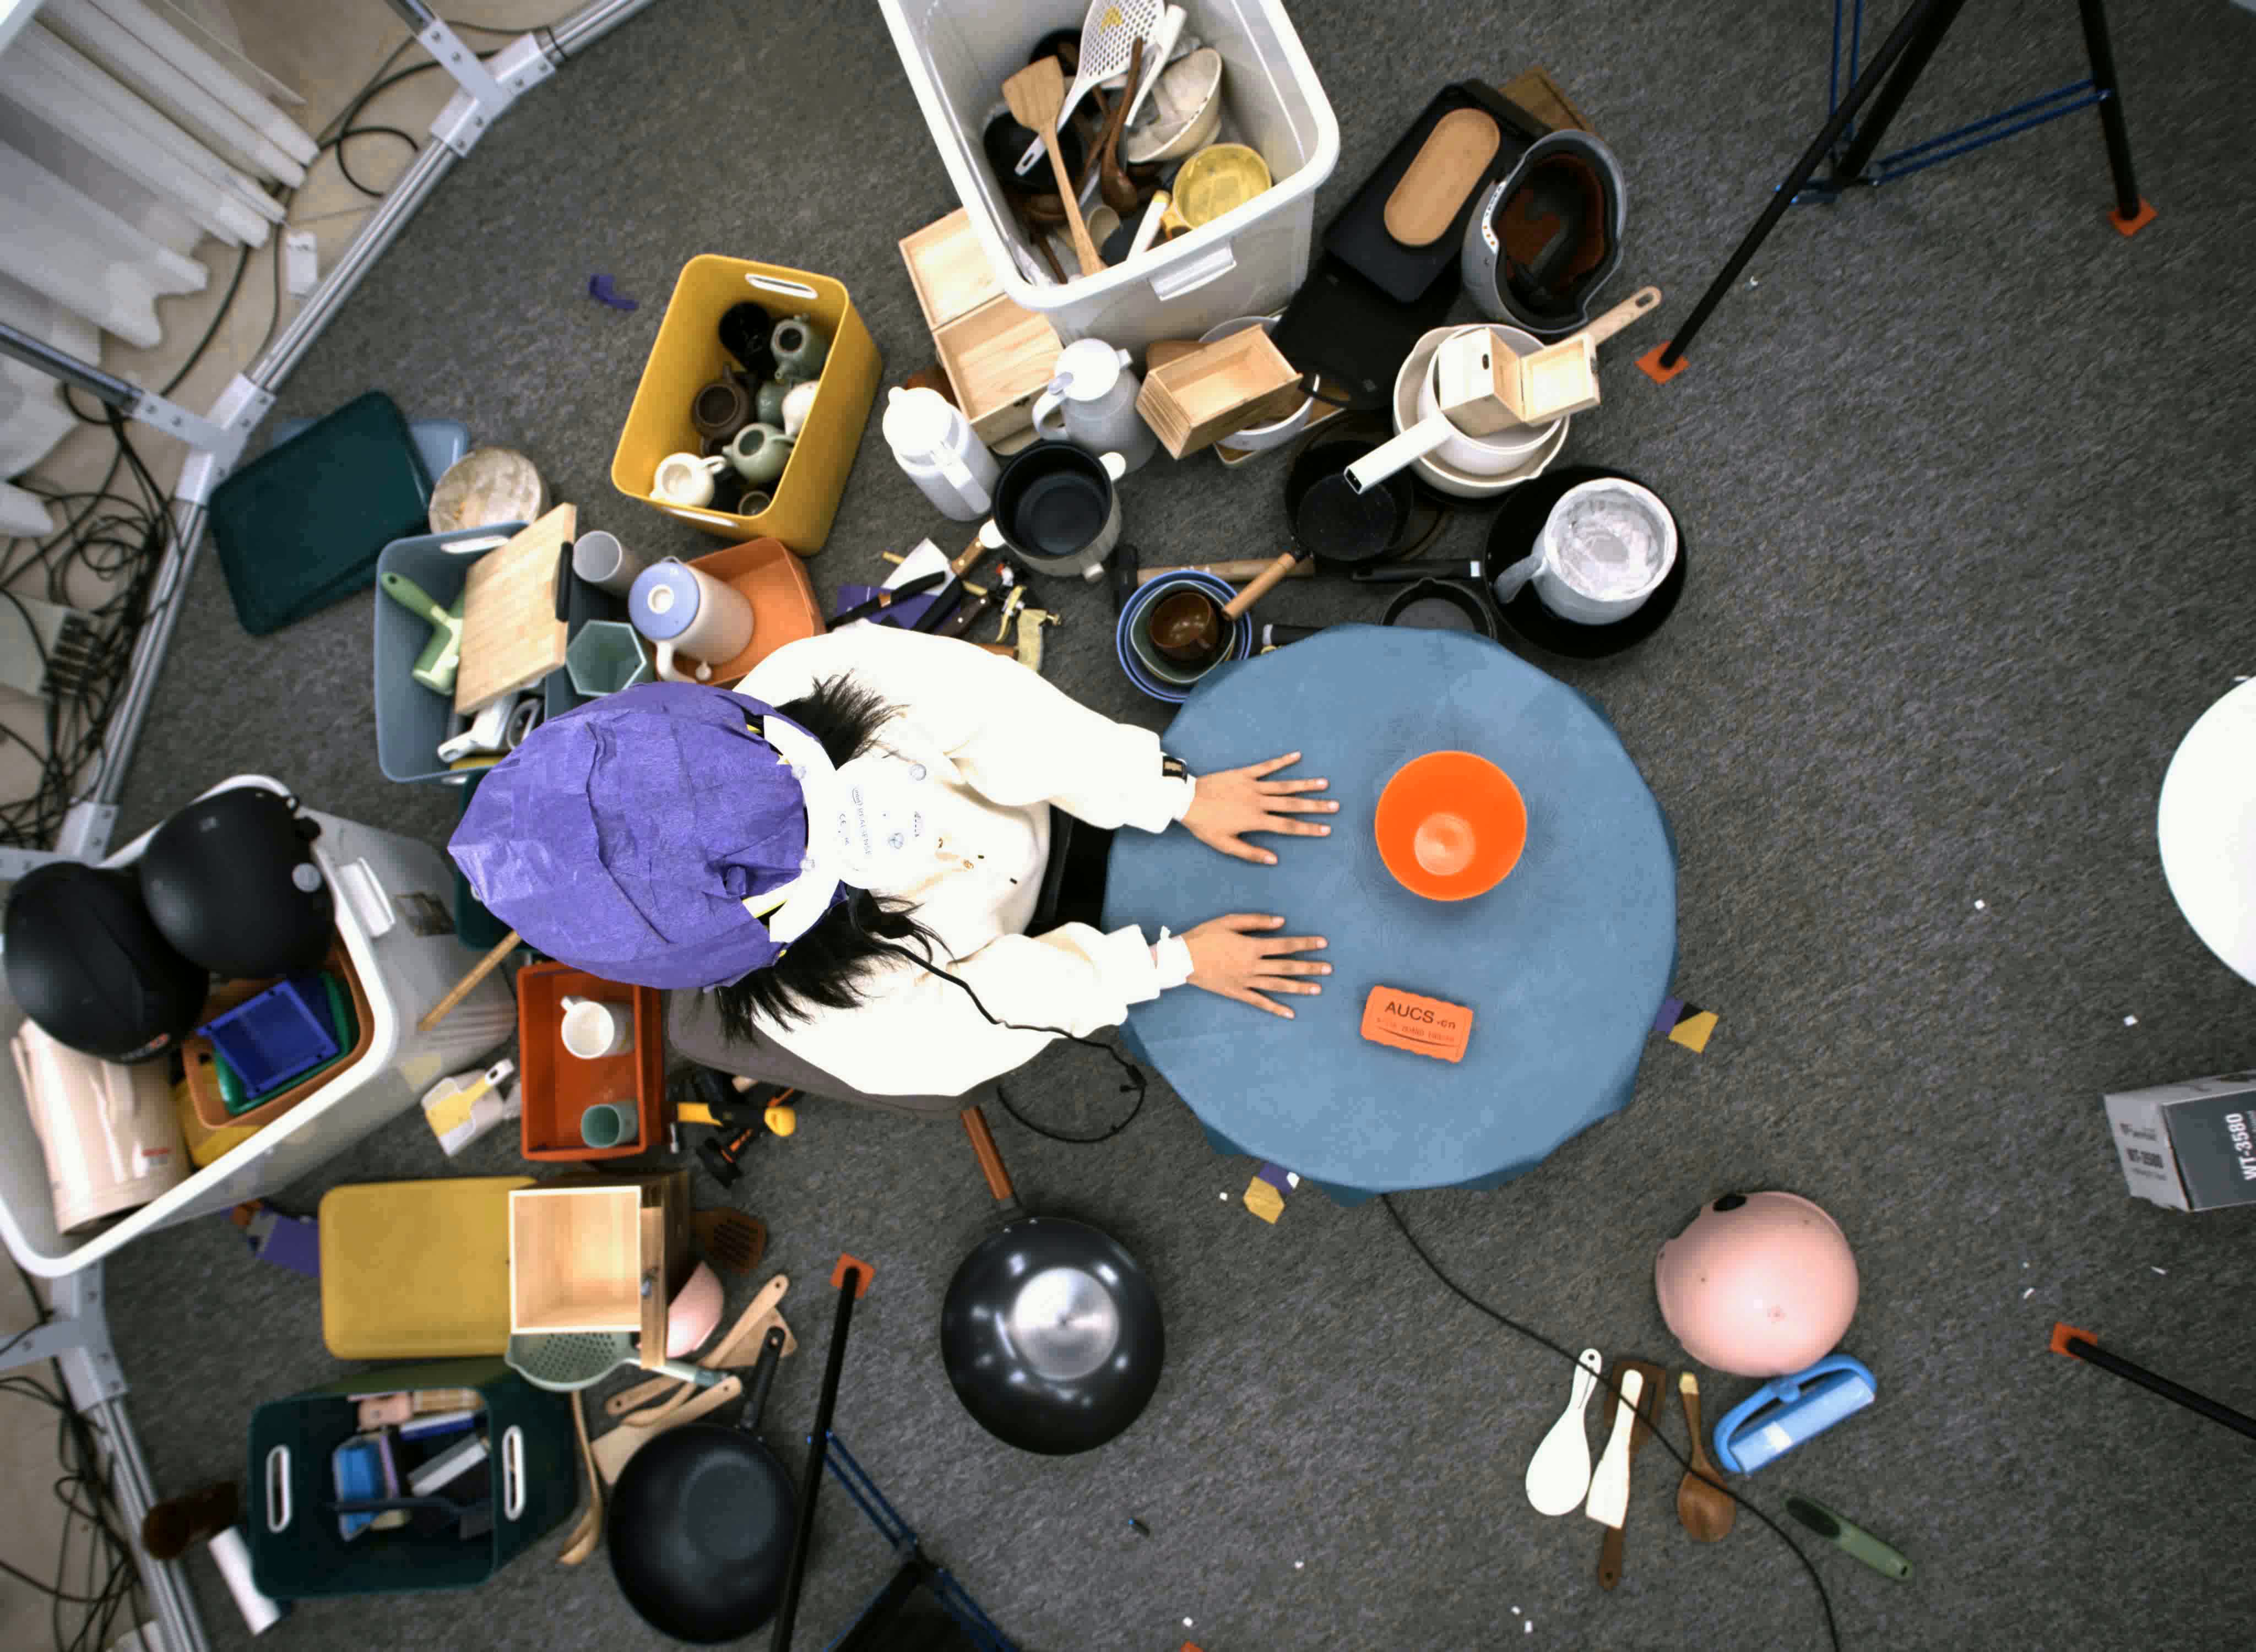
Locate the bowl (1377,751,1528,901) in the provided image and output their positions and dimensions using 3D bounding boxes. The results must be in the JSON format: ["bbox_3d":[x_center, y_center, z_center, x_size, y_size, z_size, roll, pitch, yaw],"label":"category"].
[{"bbox_3d":[0.327,0.003,1.402,0.148,0.105,0.147,-1,86,9],"label":"bowl"}]

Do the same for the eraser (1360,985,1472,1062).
[{"bbox_3d":[0.299,0.203,1.436,0.108,0.023,0.059,14,91,11],"label":"eraser"}]
